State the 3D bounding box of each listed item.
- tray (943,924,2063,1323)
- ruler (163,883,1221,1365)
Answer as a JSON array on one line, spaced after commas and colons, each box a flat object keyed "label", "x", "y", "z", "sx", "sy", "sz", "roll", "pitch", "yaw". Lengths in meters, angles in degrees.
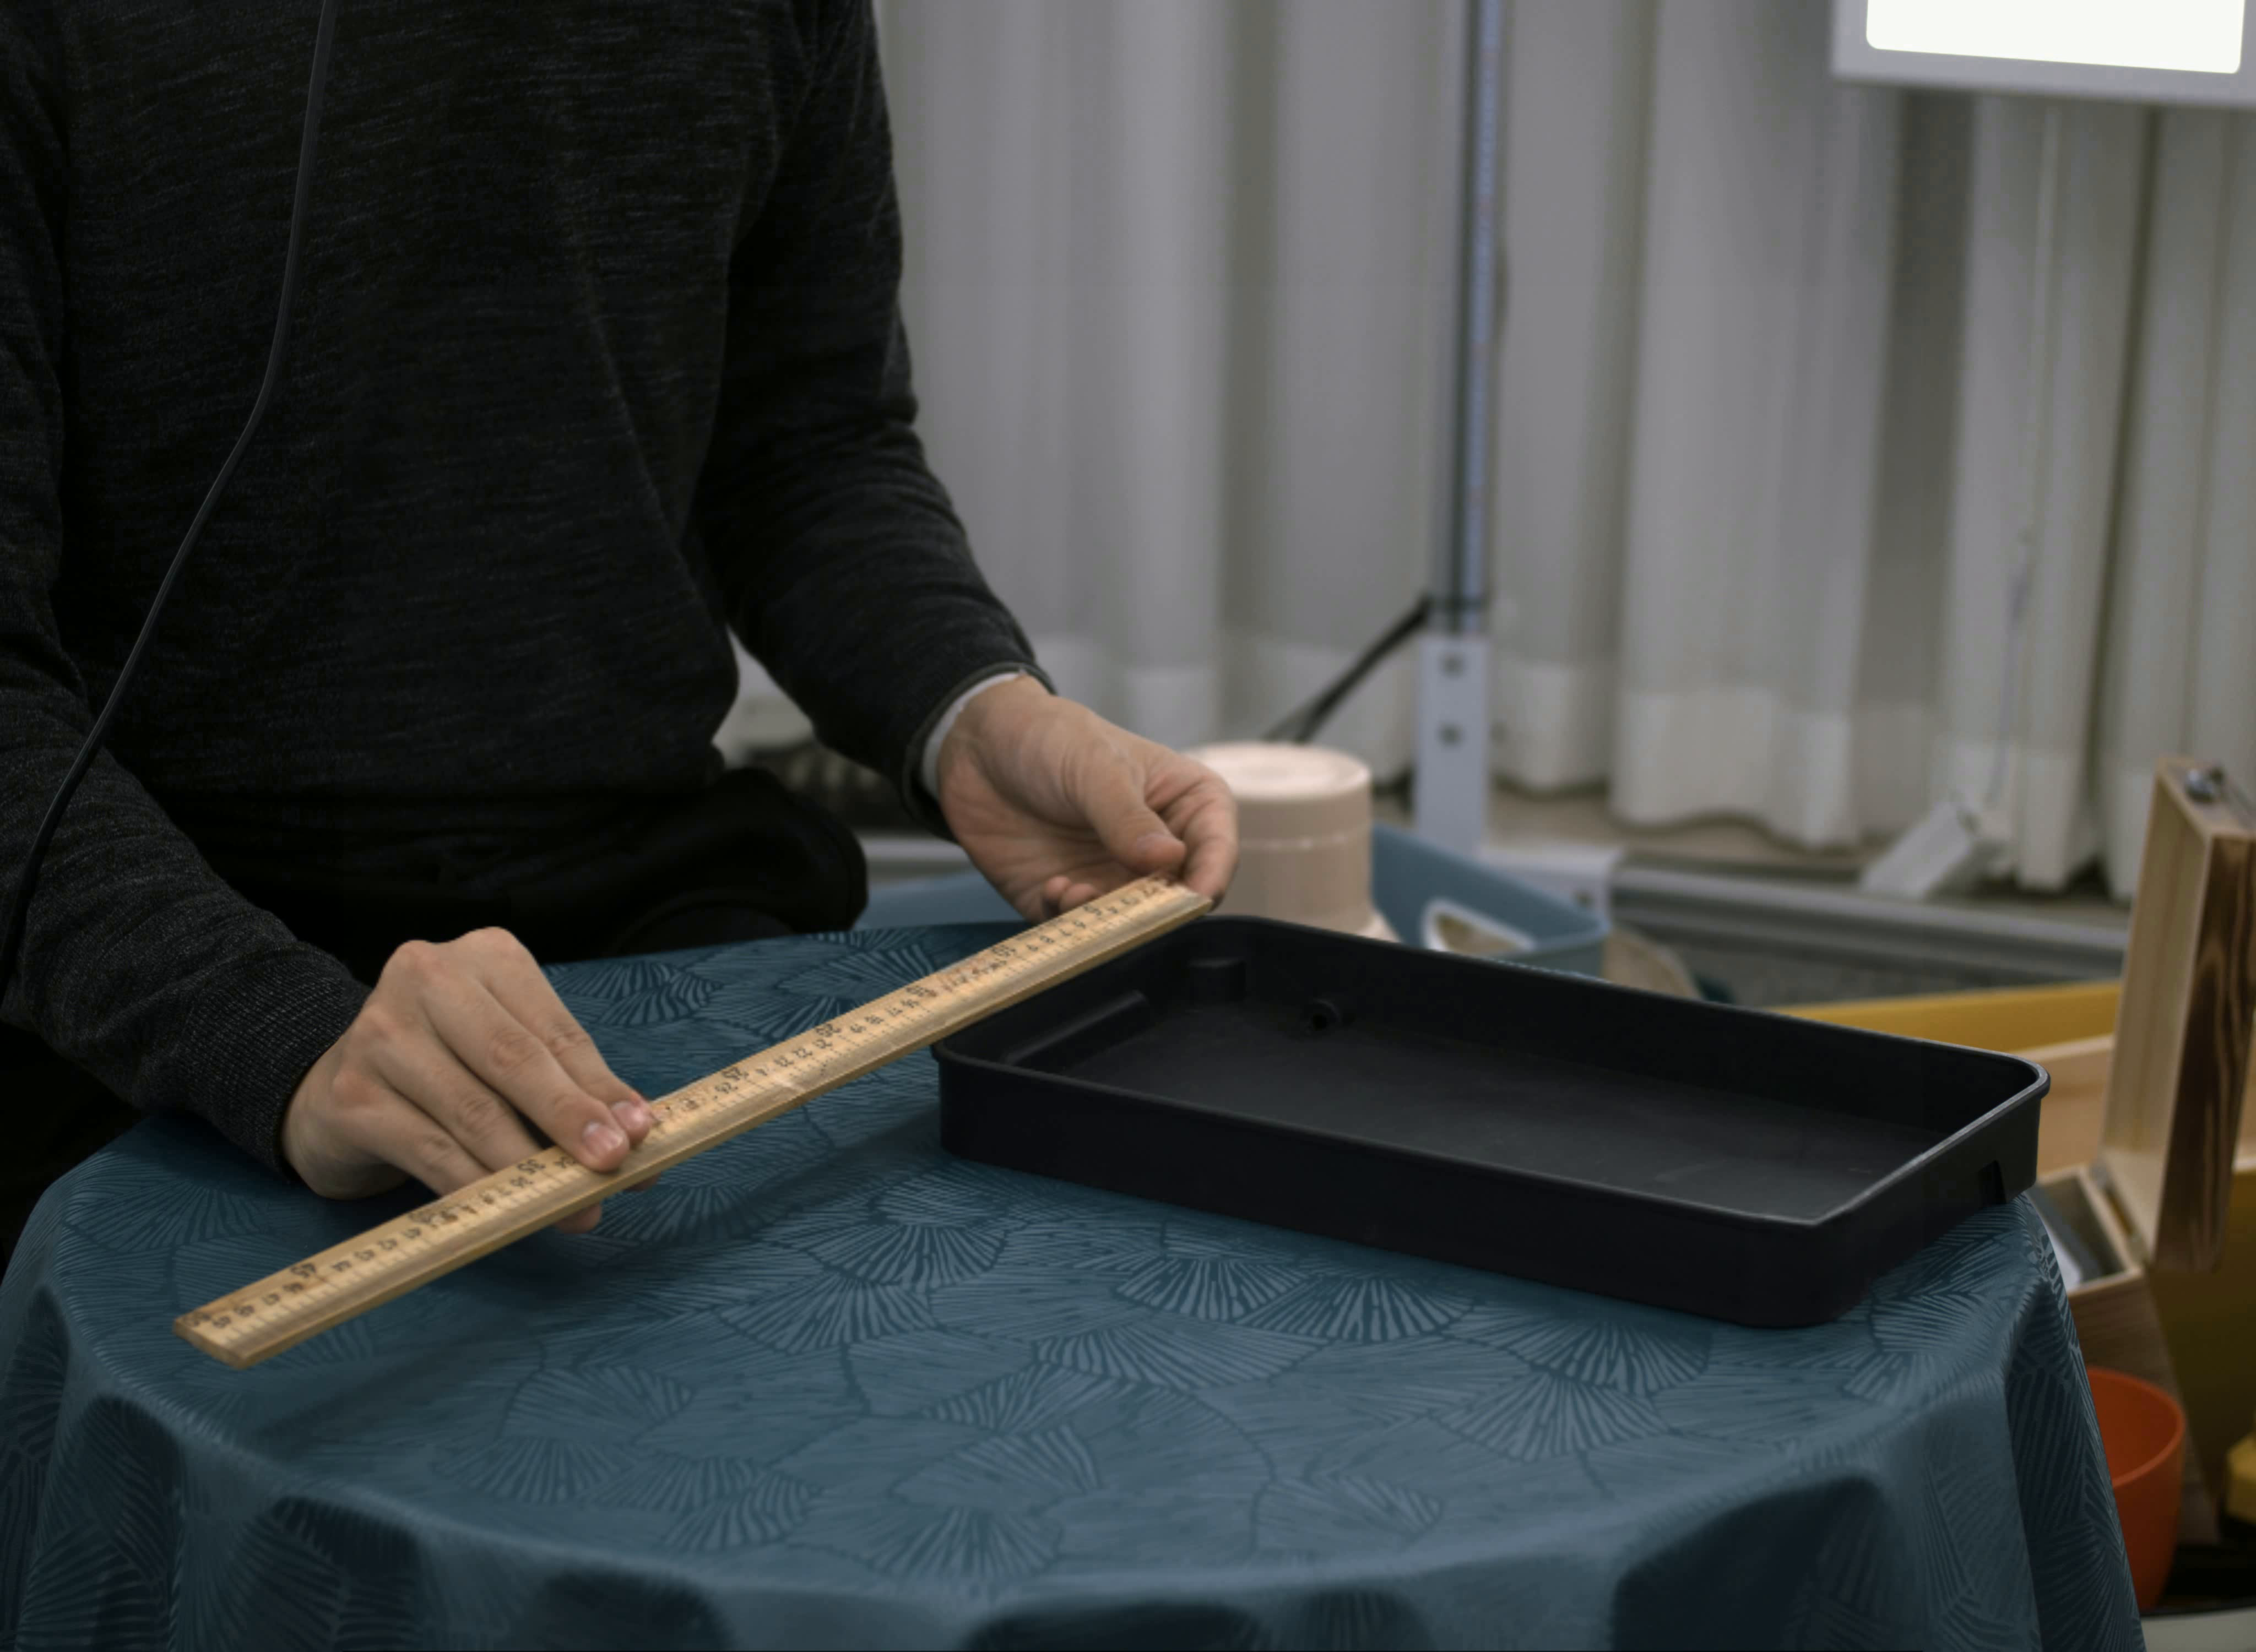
[{"label": "tray", "x": 0.116, "y": 0.088, "z": 1.644, "sx": 0.314, "sy": 0.037, "sz": 0.185, "roll": 9, "pitch": 17, "yaw": 29}, {"label": "ruler", "x": -0.113, "y": 0.080, "z": 1.589, "sx": 0.026, "sy": 0.006, "sz": 0.502, "roll": 22, "pitch": 24, "yaw": 27}]
